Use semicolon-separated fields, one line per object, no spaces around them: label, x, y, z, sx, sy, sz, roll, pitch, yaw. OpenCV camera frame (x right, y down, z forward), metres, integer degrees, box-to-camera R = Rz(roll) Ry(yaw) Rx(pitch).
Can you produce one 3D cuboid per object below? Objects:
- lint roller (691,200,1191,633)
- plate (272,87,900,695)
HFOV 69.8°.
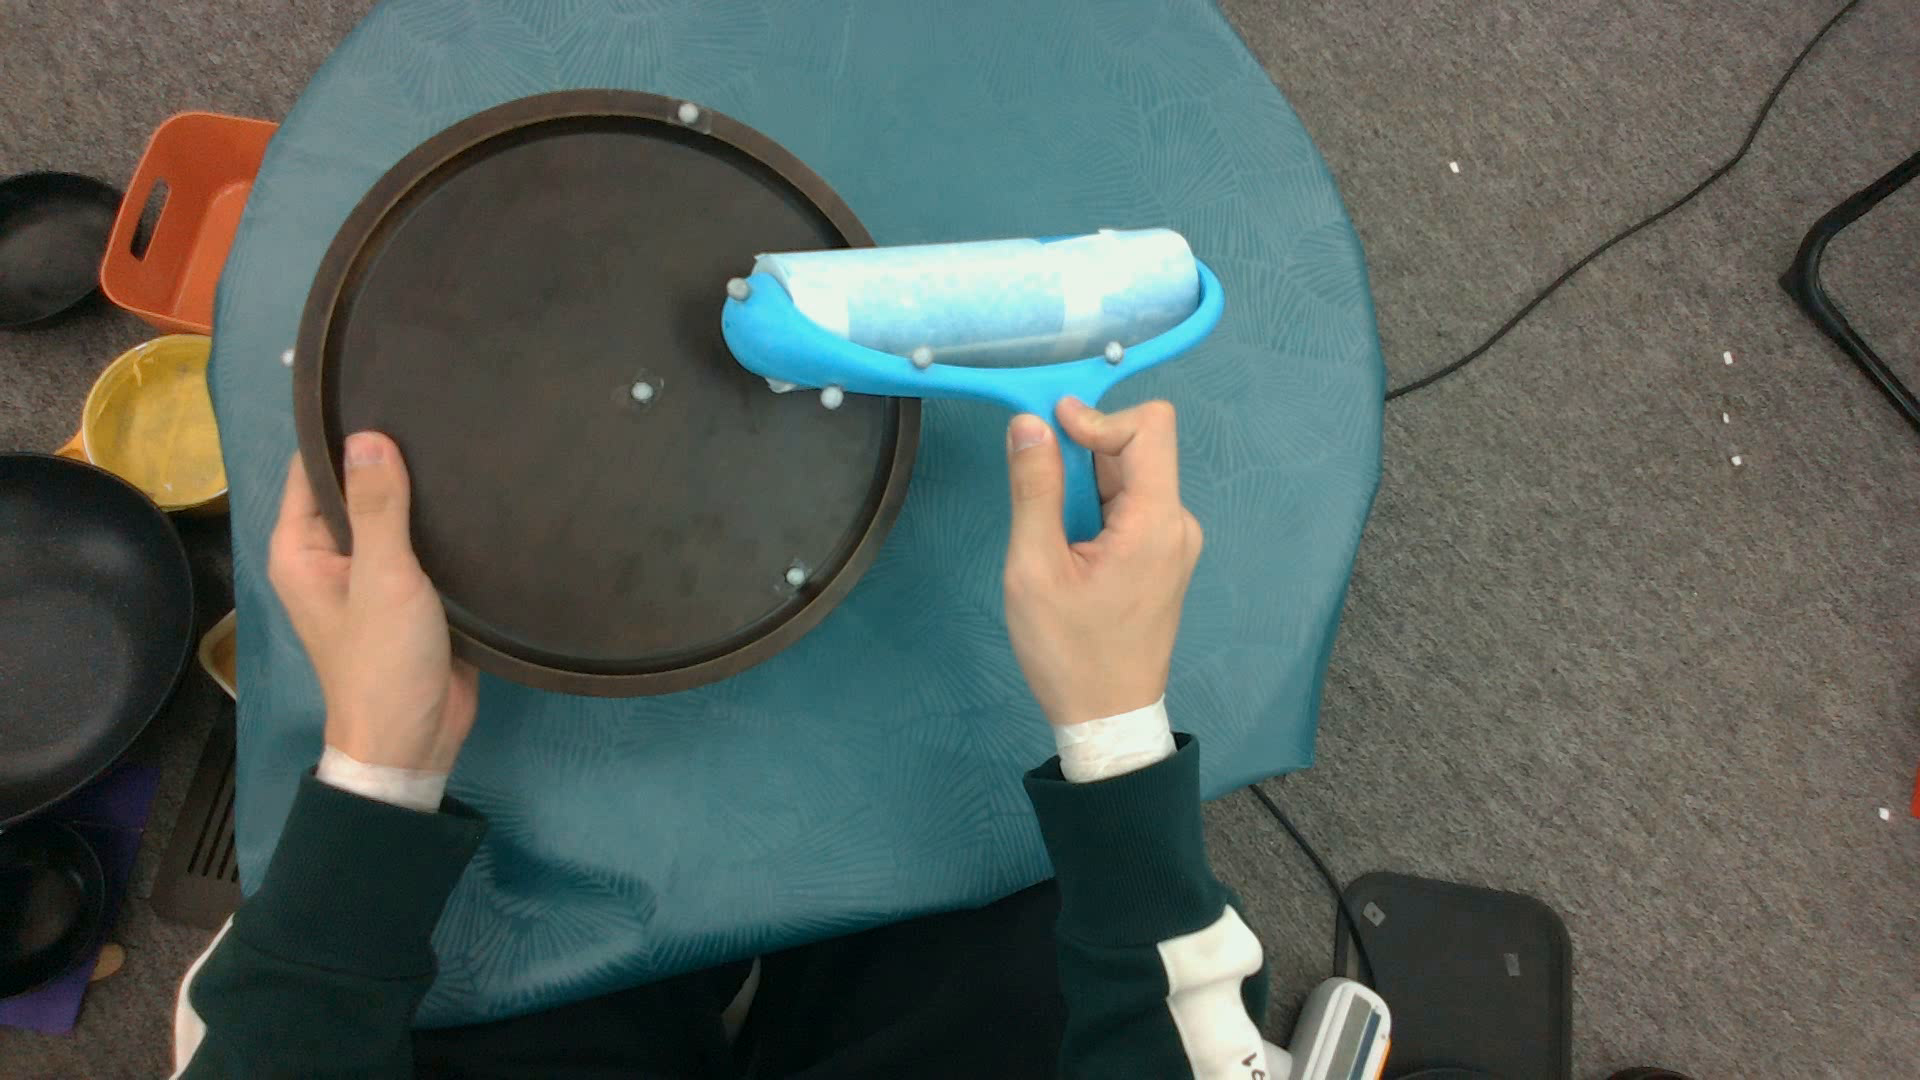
lint roller;0.020;-0.055;0.569;0.230;0.067;0.180;-16;76;-31
plate;-0.150;-0.060;0.583;0.255;0.029;0.254;-1;93;-16
